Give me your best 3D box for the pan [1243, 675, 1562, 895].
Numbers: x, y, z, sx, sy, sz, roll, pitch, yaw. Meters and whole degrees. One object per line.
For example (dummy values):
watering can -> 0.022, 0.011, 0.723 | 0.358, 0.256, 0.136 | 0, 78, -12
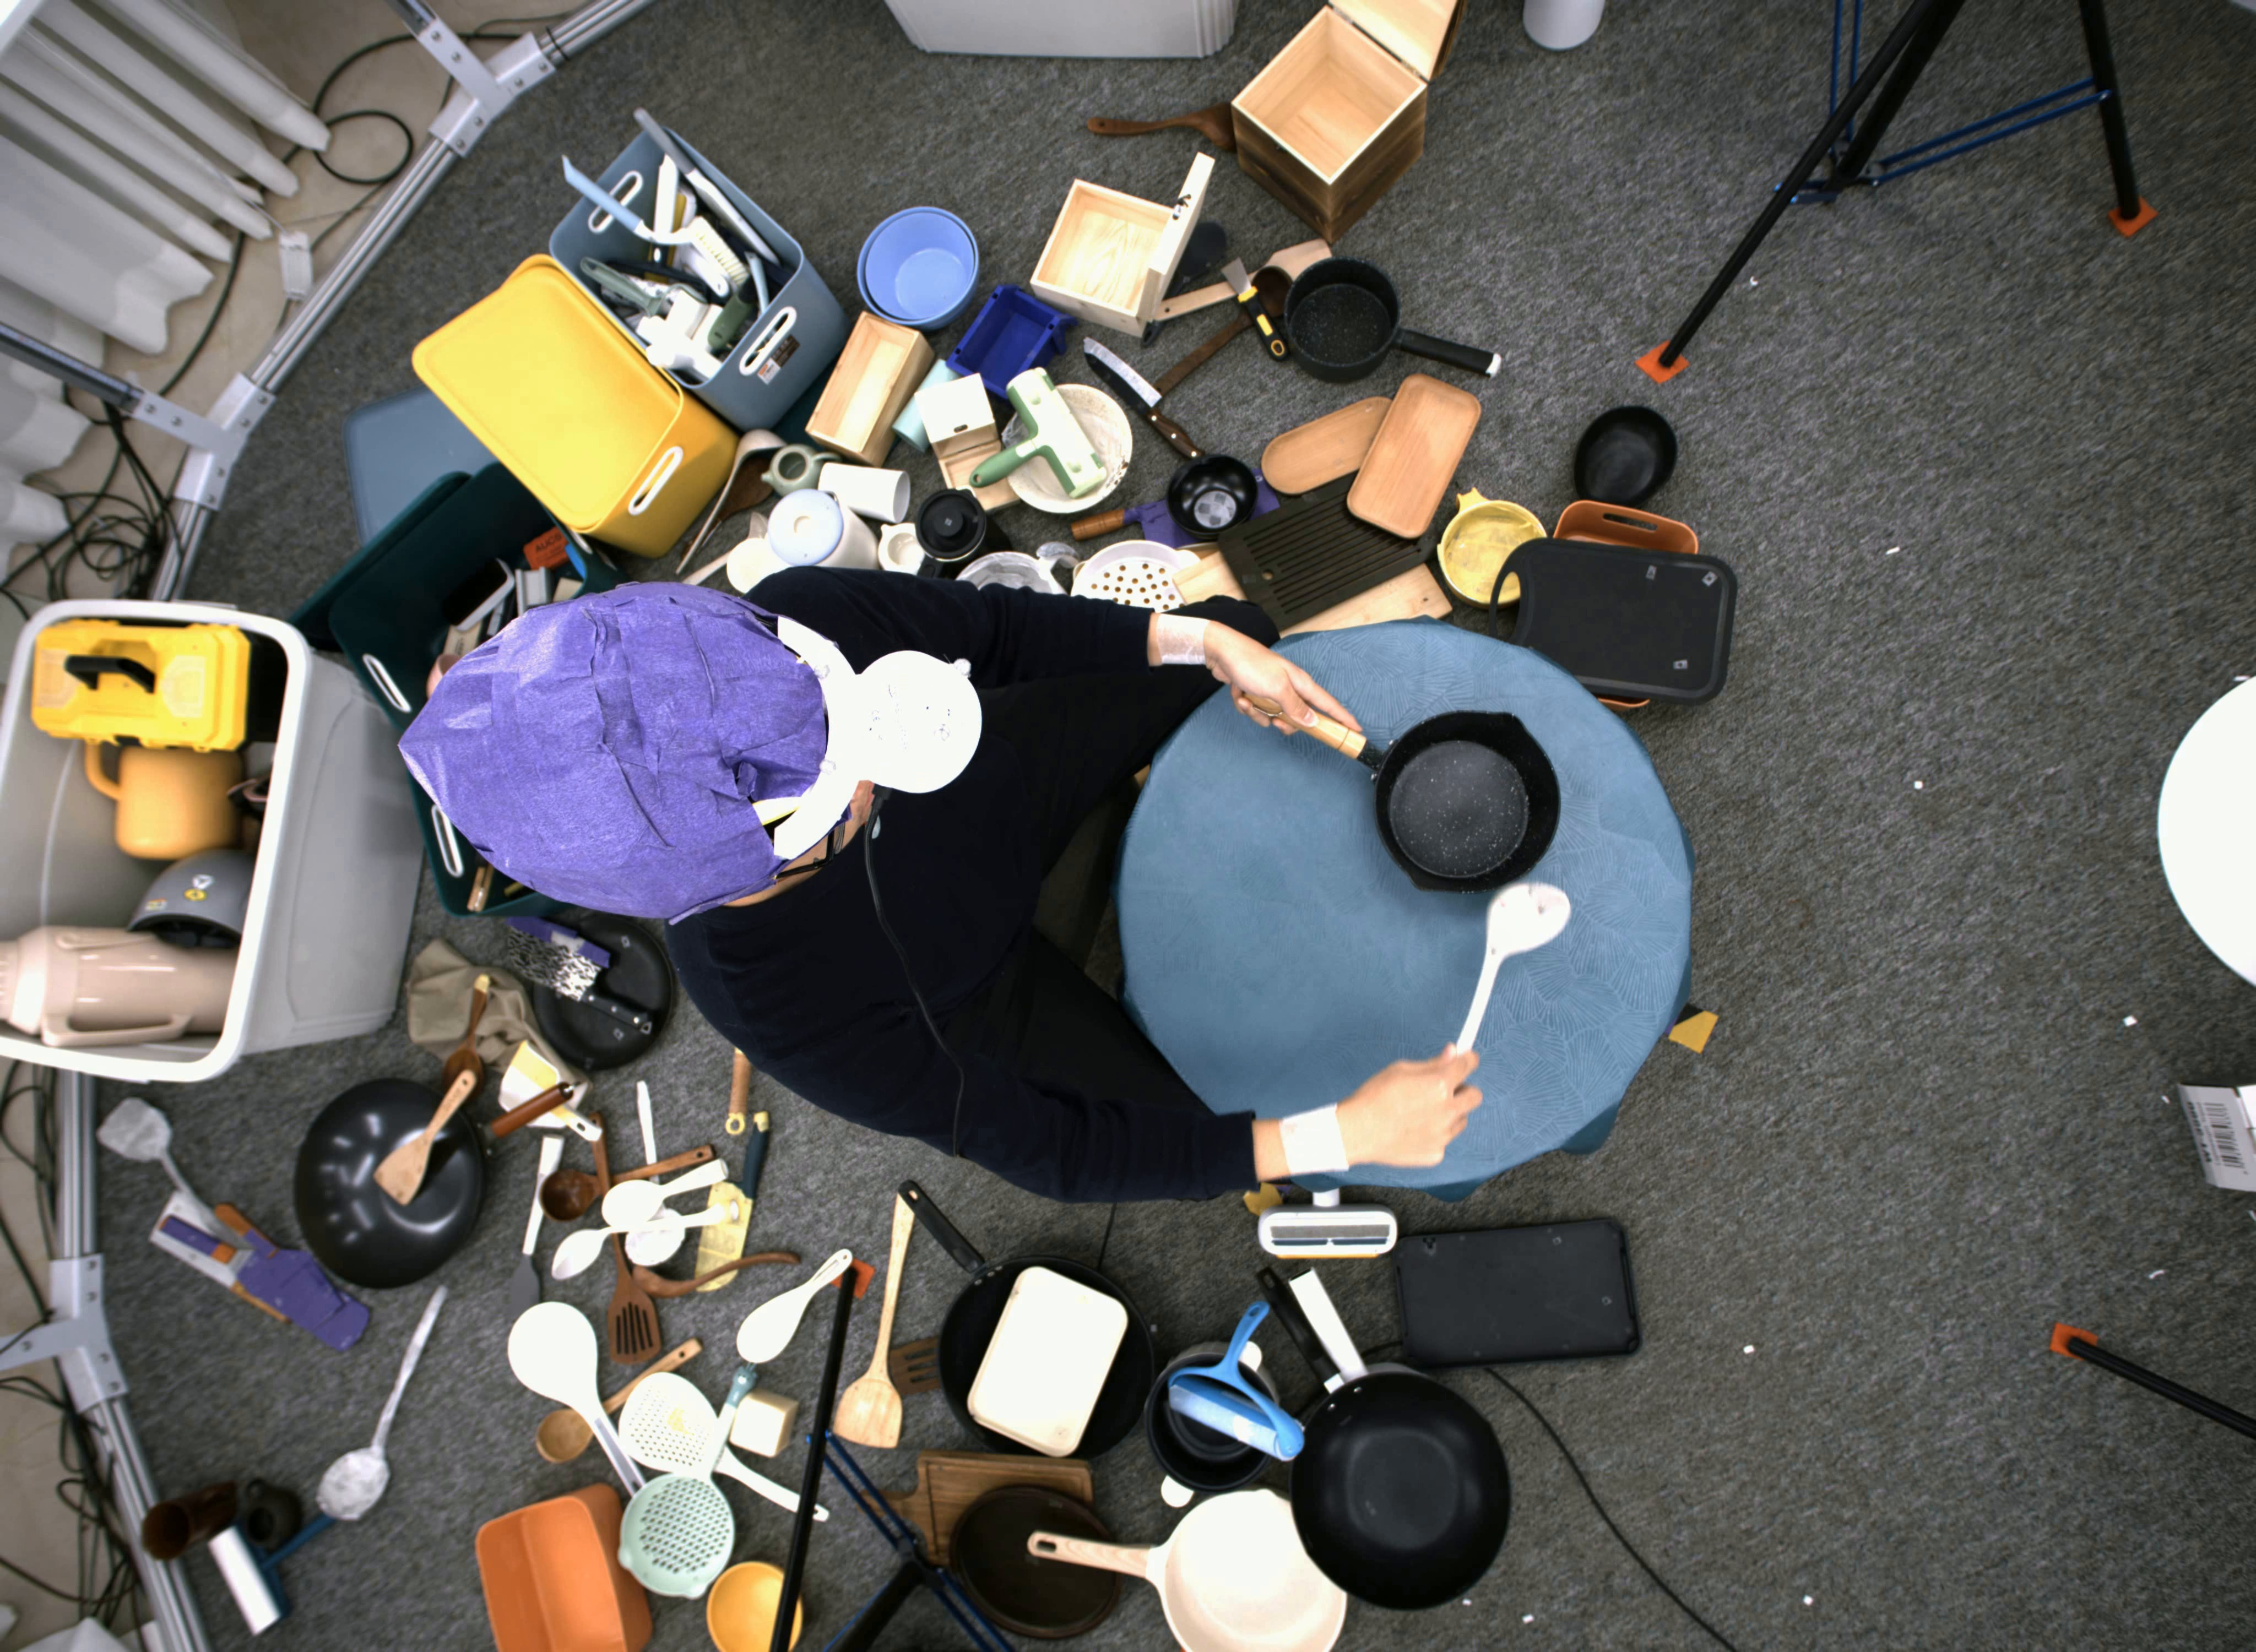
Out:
pan -> 0.271, -0.059, 1.406 | 0.342, 0.108, 0.208 | 27, 92, 7

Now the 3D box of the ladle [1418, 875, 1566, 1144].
ladle -> 0.338, 0.168, 1.274 | 0.070, 0.090, 0.270 | 4, 63, 40
